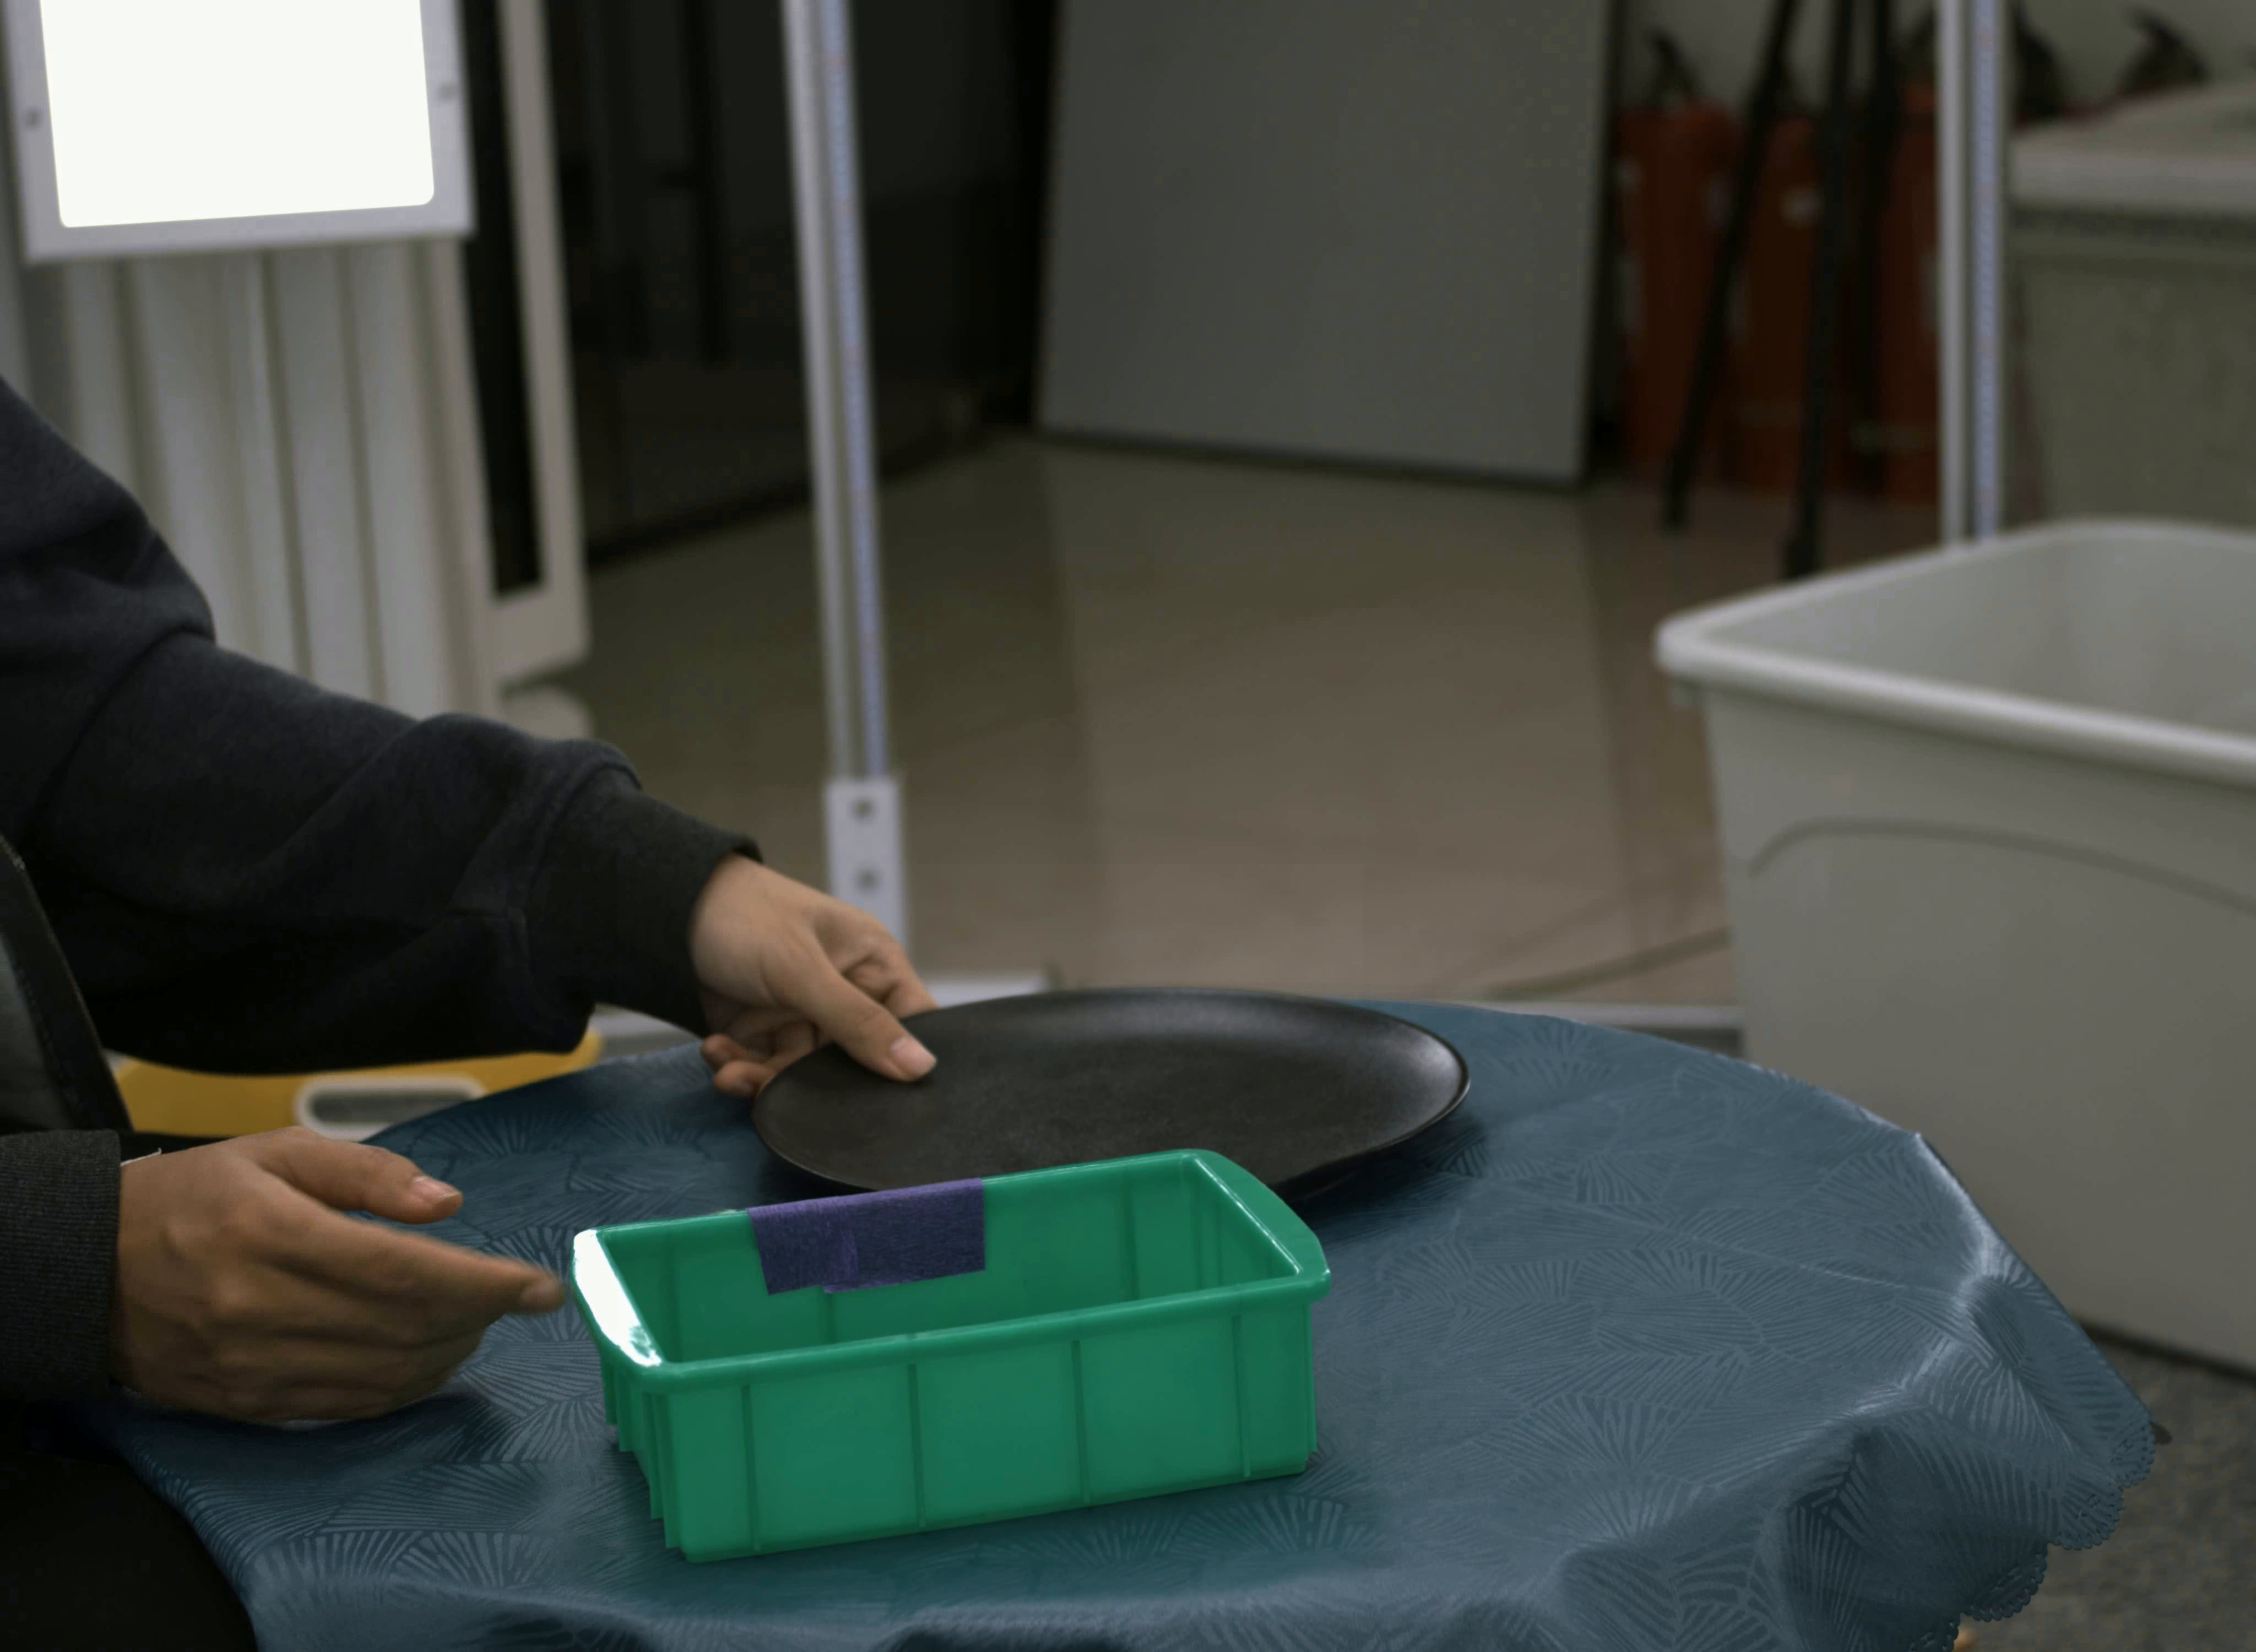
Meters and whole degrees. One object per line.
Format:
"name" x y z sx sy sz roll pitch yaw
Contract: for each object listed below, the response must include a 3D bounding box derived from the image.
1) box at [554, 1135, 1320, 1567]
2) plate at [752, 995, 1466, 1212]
"box" -0.053 0.149 1.536 0.206 0.066 0.139 -9 13 -13
"plate" -0.006 0.099 1.812 0.241 0.024 0.245 -4 14 0
